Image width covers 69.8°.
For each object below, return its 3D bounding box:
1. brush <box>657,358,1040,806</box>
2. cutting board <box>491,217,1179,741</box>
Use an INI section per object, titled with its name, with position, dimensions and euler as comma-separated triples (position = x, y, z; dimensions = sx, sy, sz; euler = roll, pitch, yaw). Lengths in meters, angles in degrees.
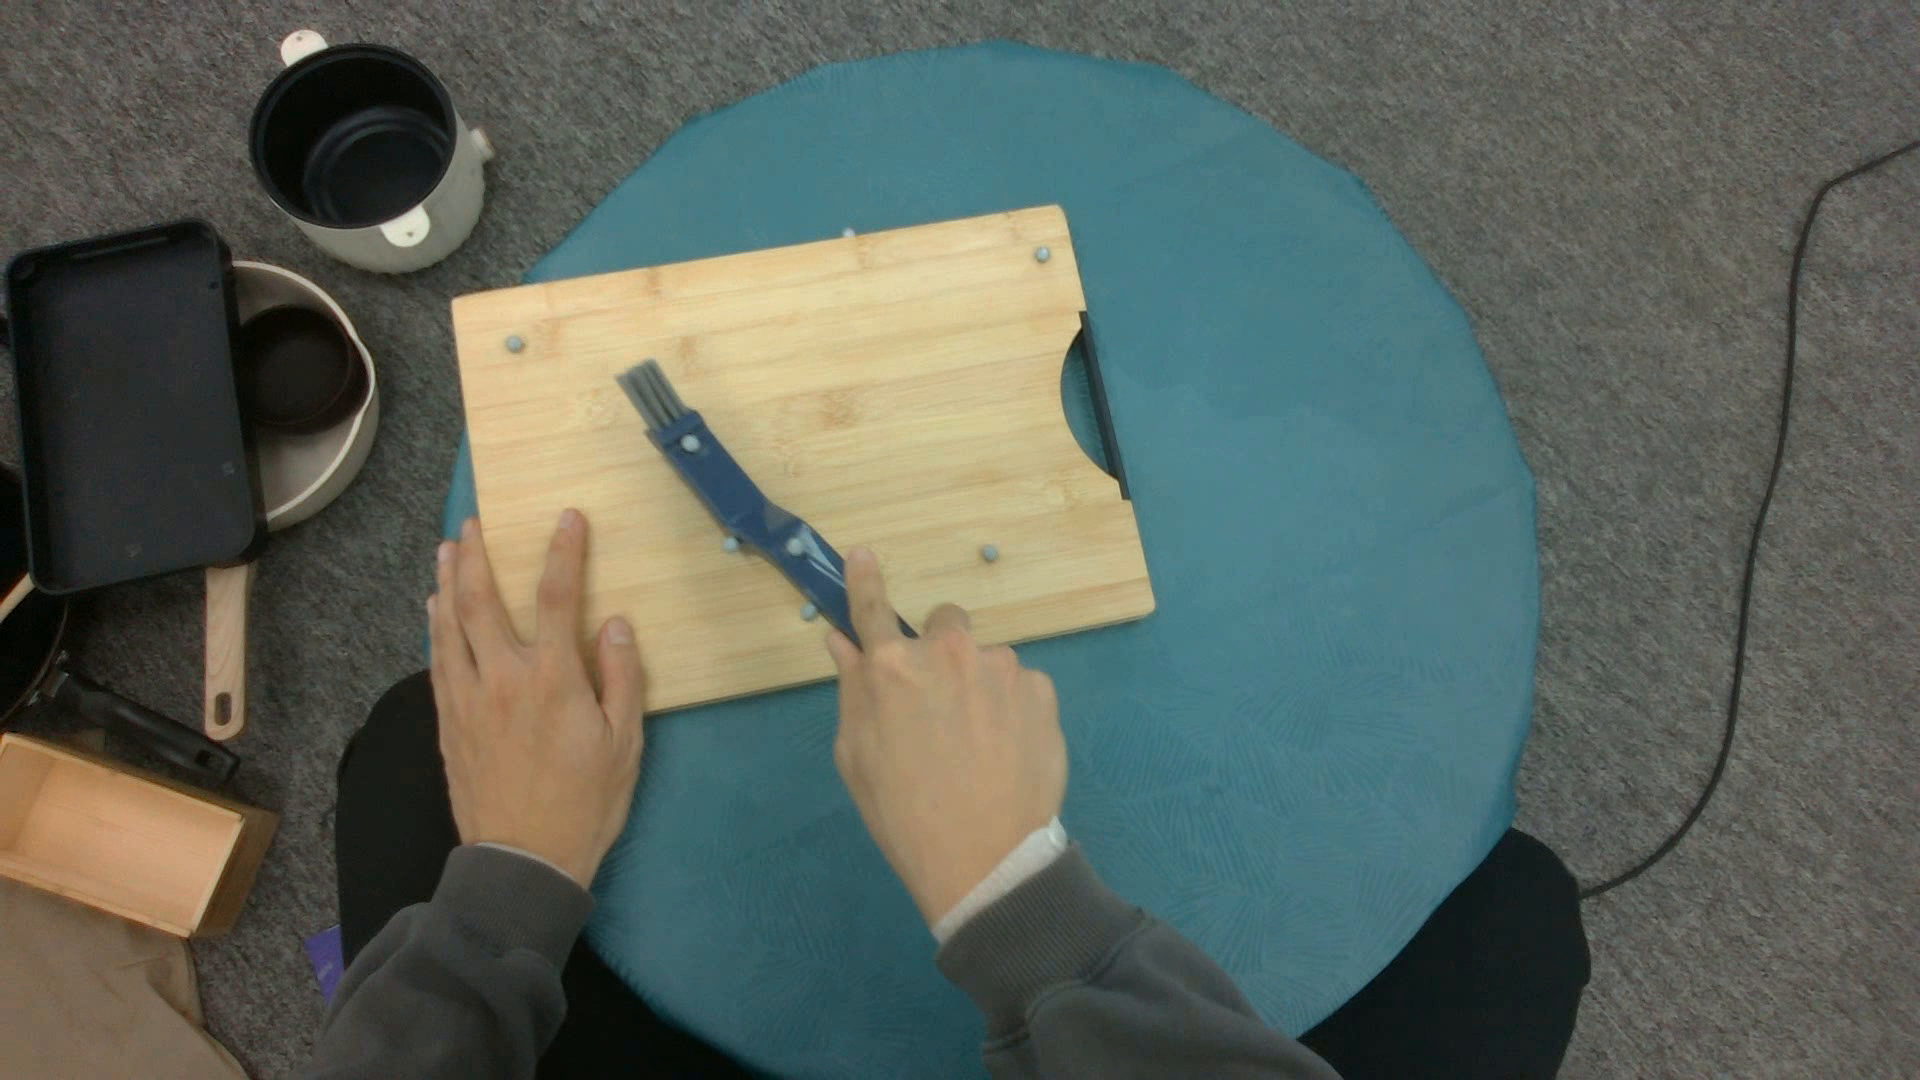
[brush]
position = -0.063, 0.014, 0.654
dimensions = 0.033, 0.095, 0.273
euler = -32, 51, -24
[cutting board]
position = -0.074, -0.040, 0.762
dimensions = 0.349, 0.023, 0.251
euler = -11, 78, -6
